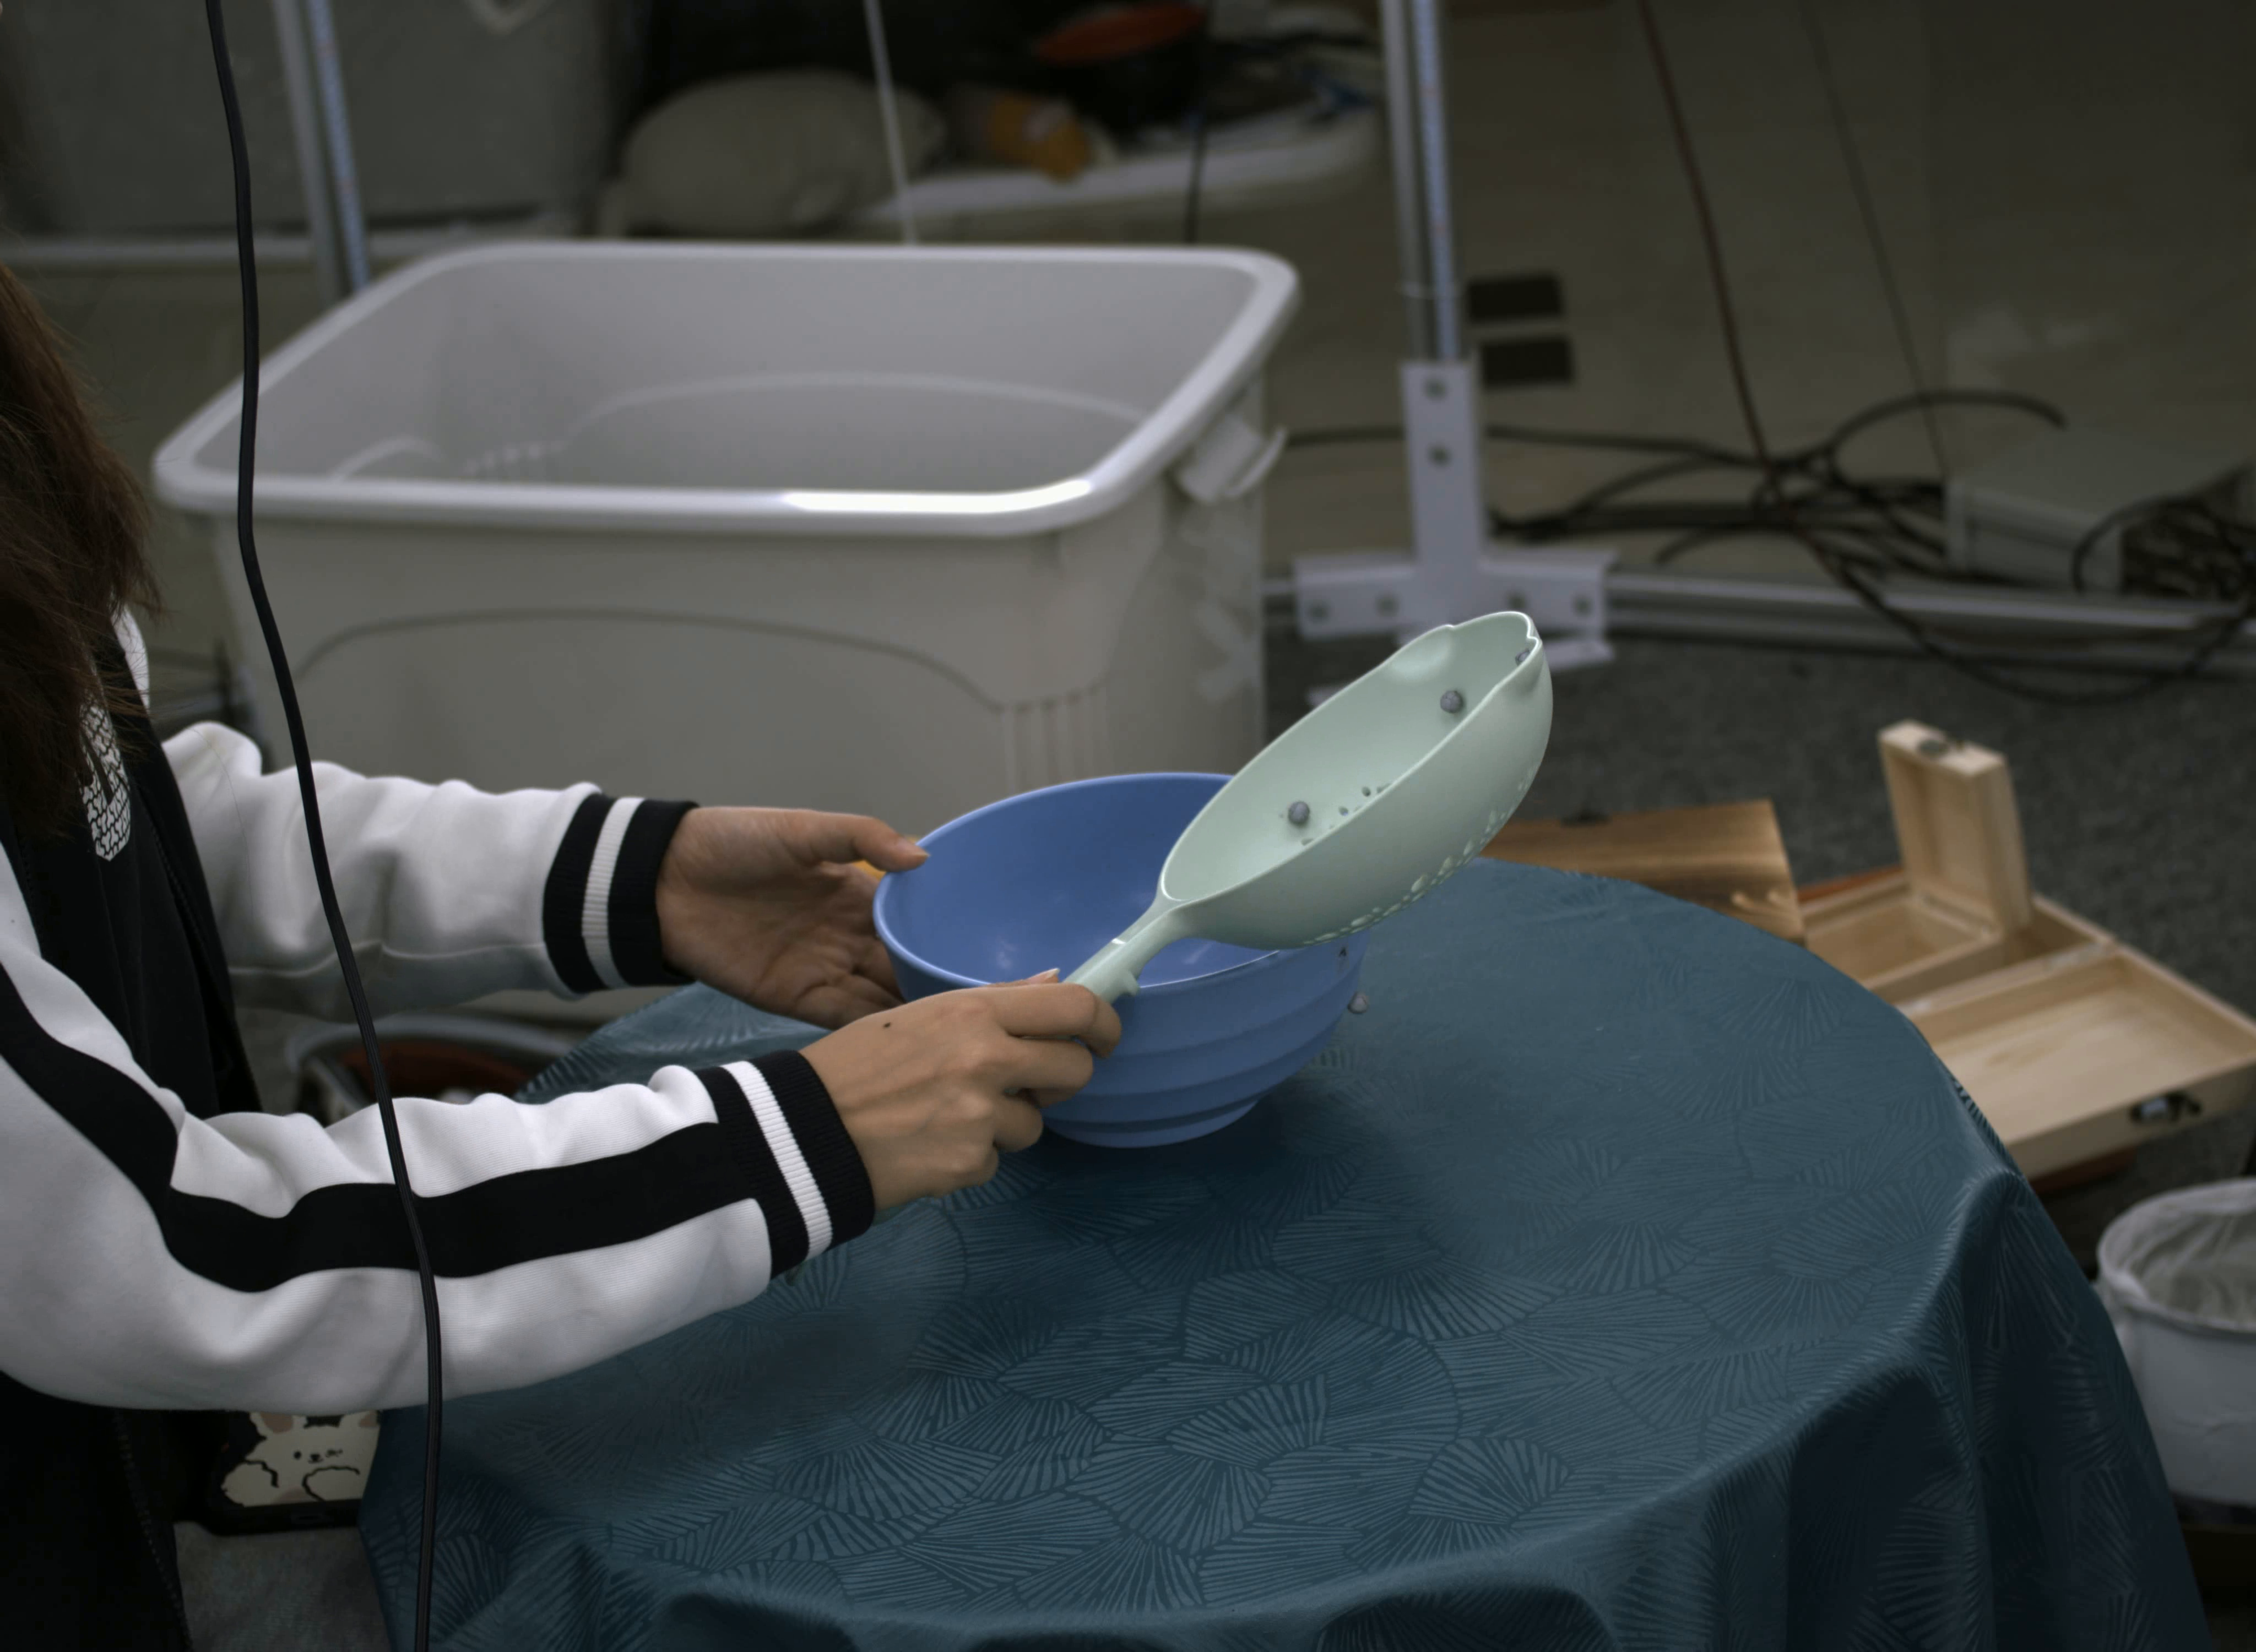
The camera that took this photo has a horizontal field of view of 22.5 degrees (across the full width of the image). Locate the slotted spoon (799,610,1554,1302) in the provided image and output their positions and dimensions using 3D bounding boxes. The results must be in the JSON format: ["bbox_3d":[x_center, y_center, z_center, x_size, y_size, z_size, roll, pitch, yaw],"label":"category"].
[{"bbox_3d":[0.013,0.046,2.072,0.357,0.076,0.168,-33,12,-9],"label":"slotted spoon"}]

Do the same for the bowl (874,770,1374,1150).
[{"bbox_3d":[0.004,0.063,2.198,0.196,0.097,0.193,-5,26,3],"label":"bowl"}]
